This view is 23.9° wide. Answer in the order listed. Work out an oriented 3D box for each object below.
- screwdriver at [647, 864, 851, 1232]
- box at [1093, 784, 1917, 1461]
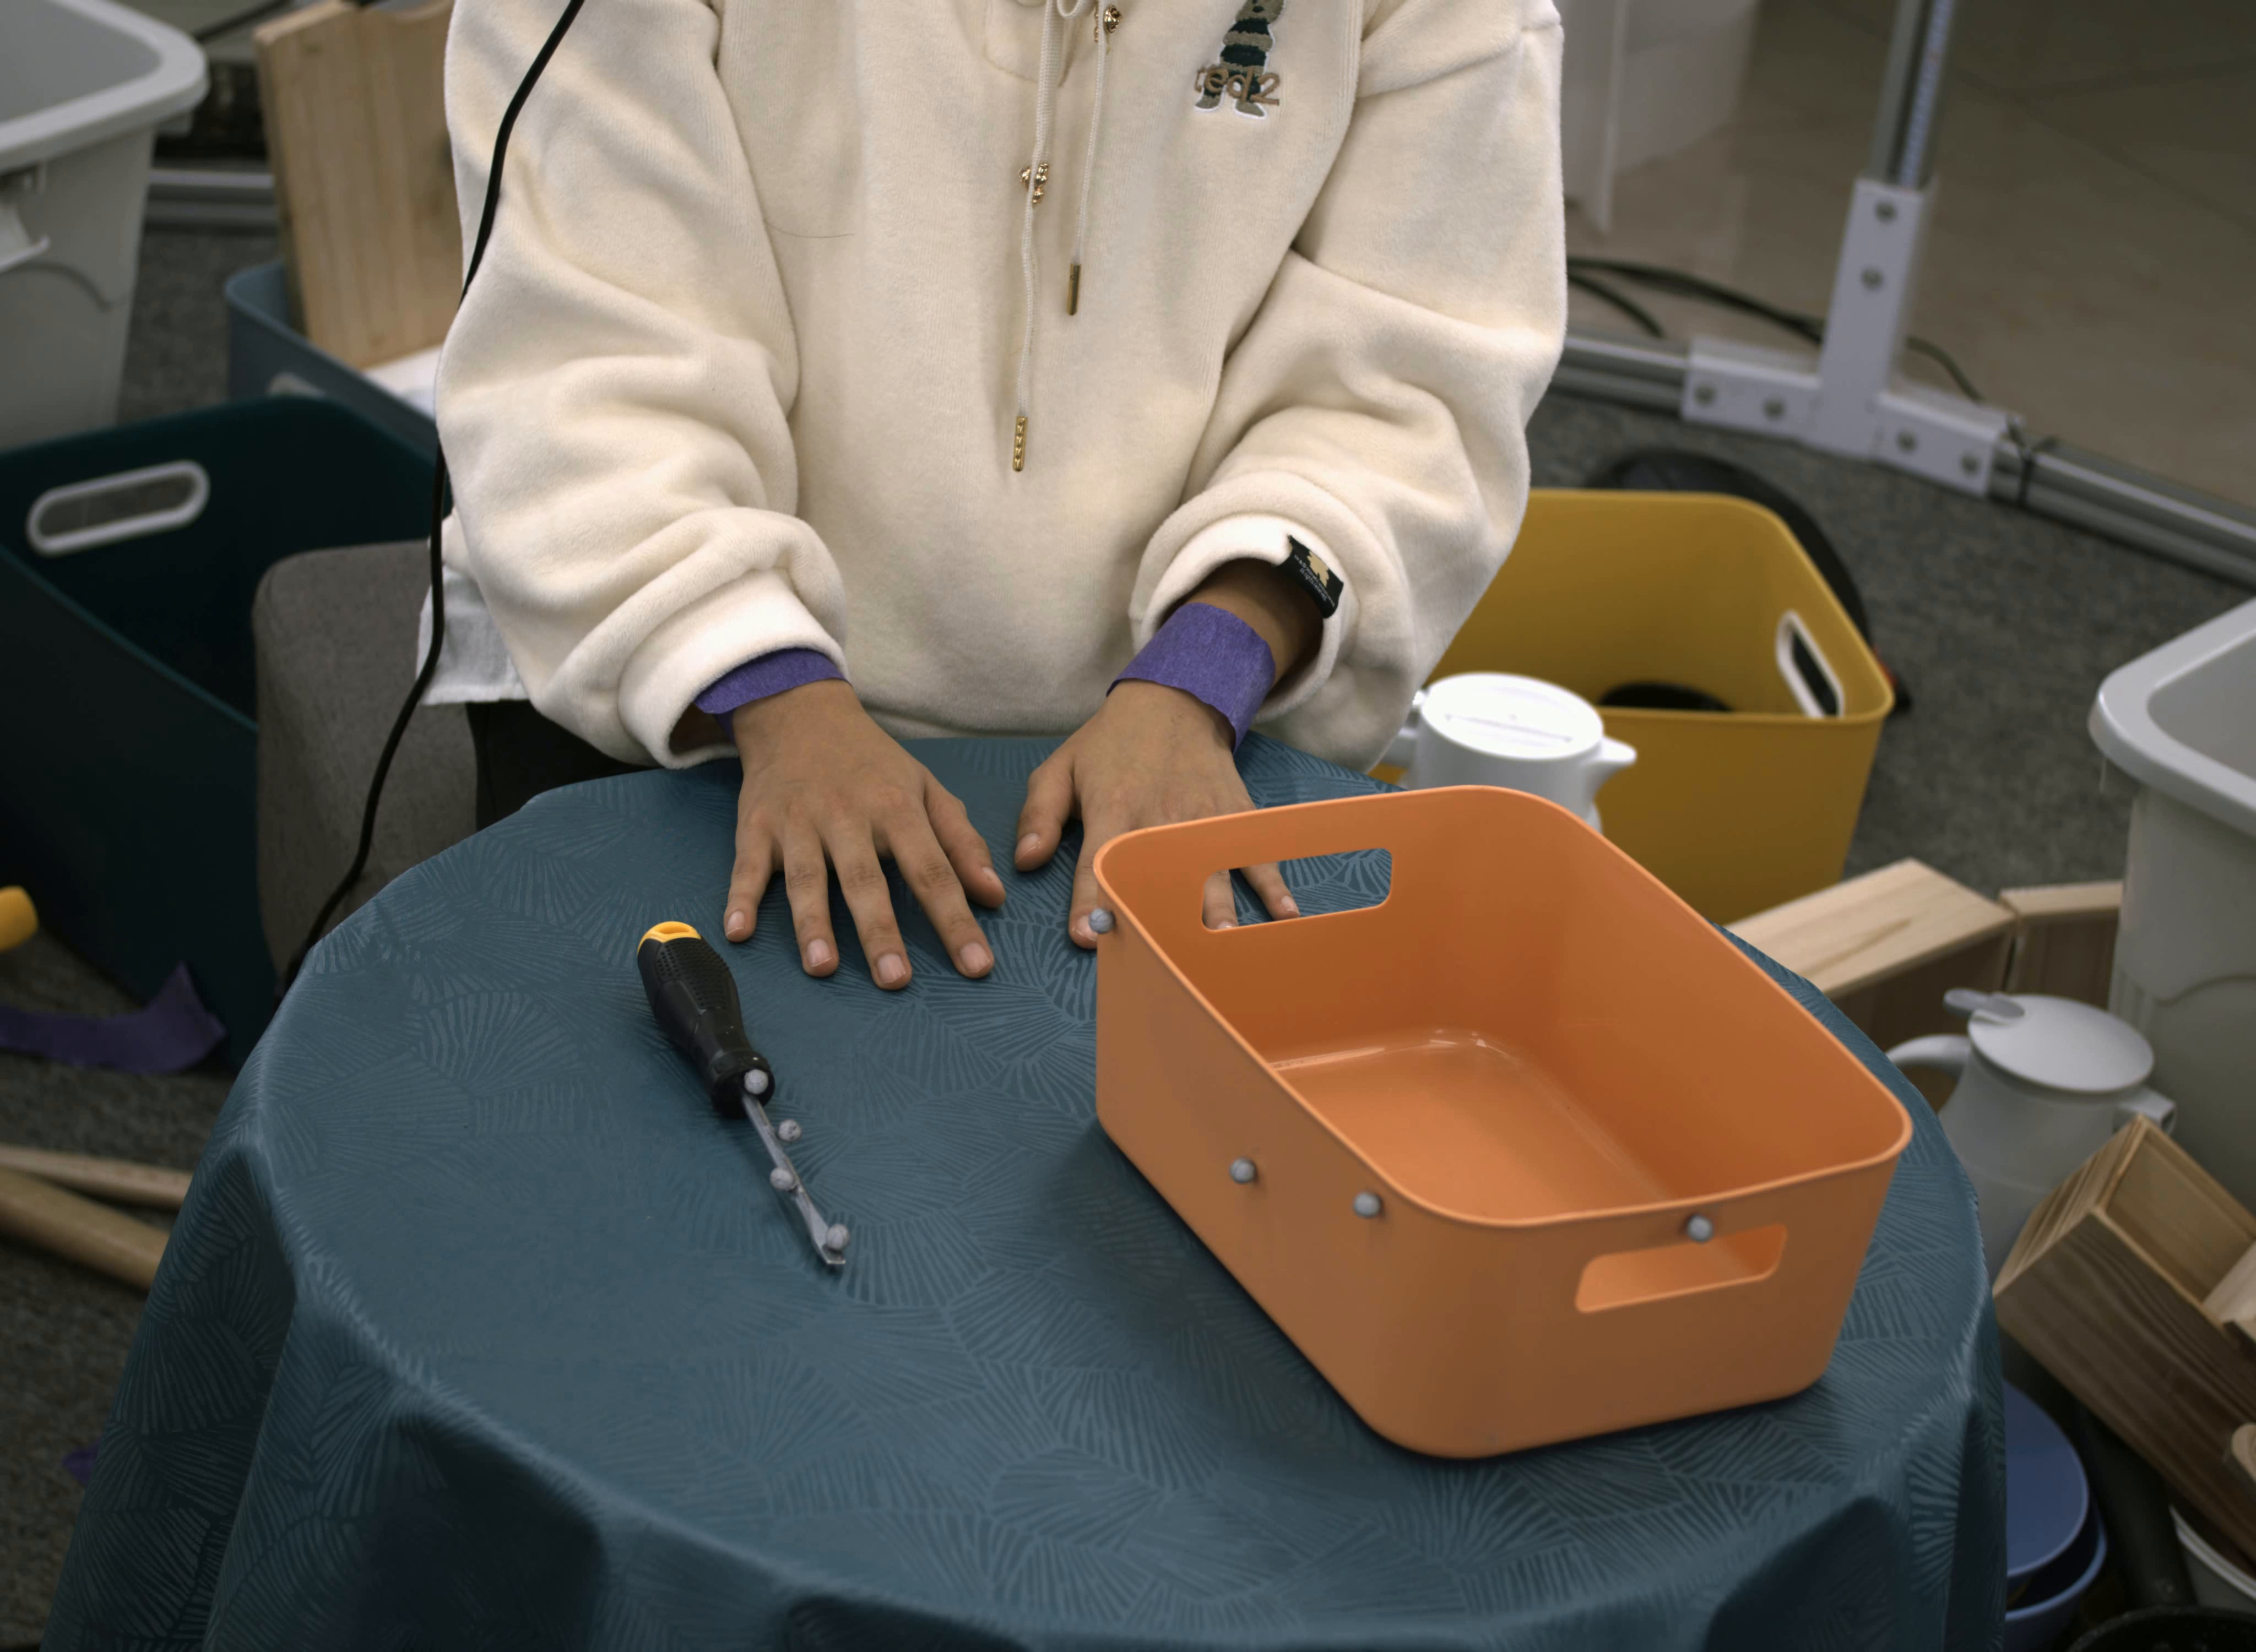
[{"bbox_3d":[-0.124,0.077,1.817,0.031,0.031,0.200,-6,38,-24],"label":"screwdriver"},{"bbox_3d":[0.116,0.096,1.767,0.198,0.102,0.276,-8,31,-26],"label":"box"}]
